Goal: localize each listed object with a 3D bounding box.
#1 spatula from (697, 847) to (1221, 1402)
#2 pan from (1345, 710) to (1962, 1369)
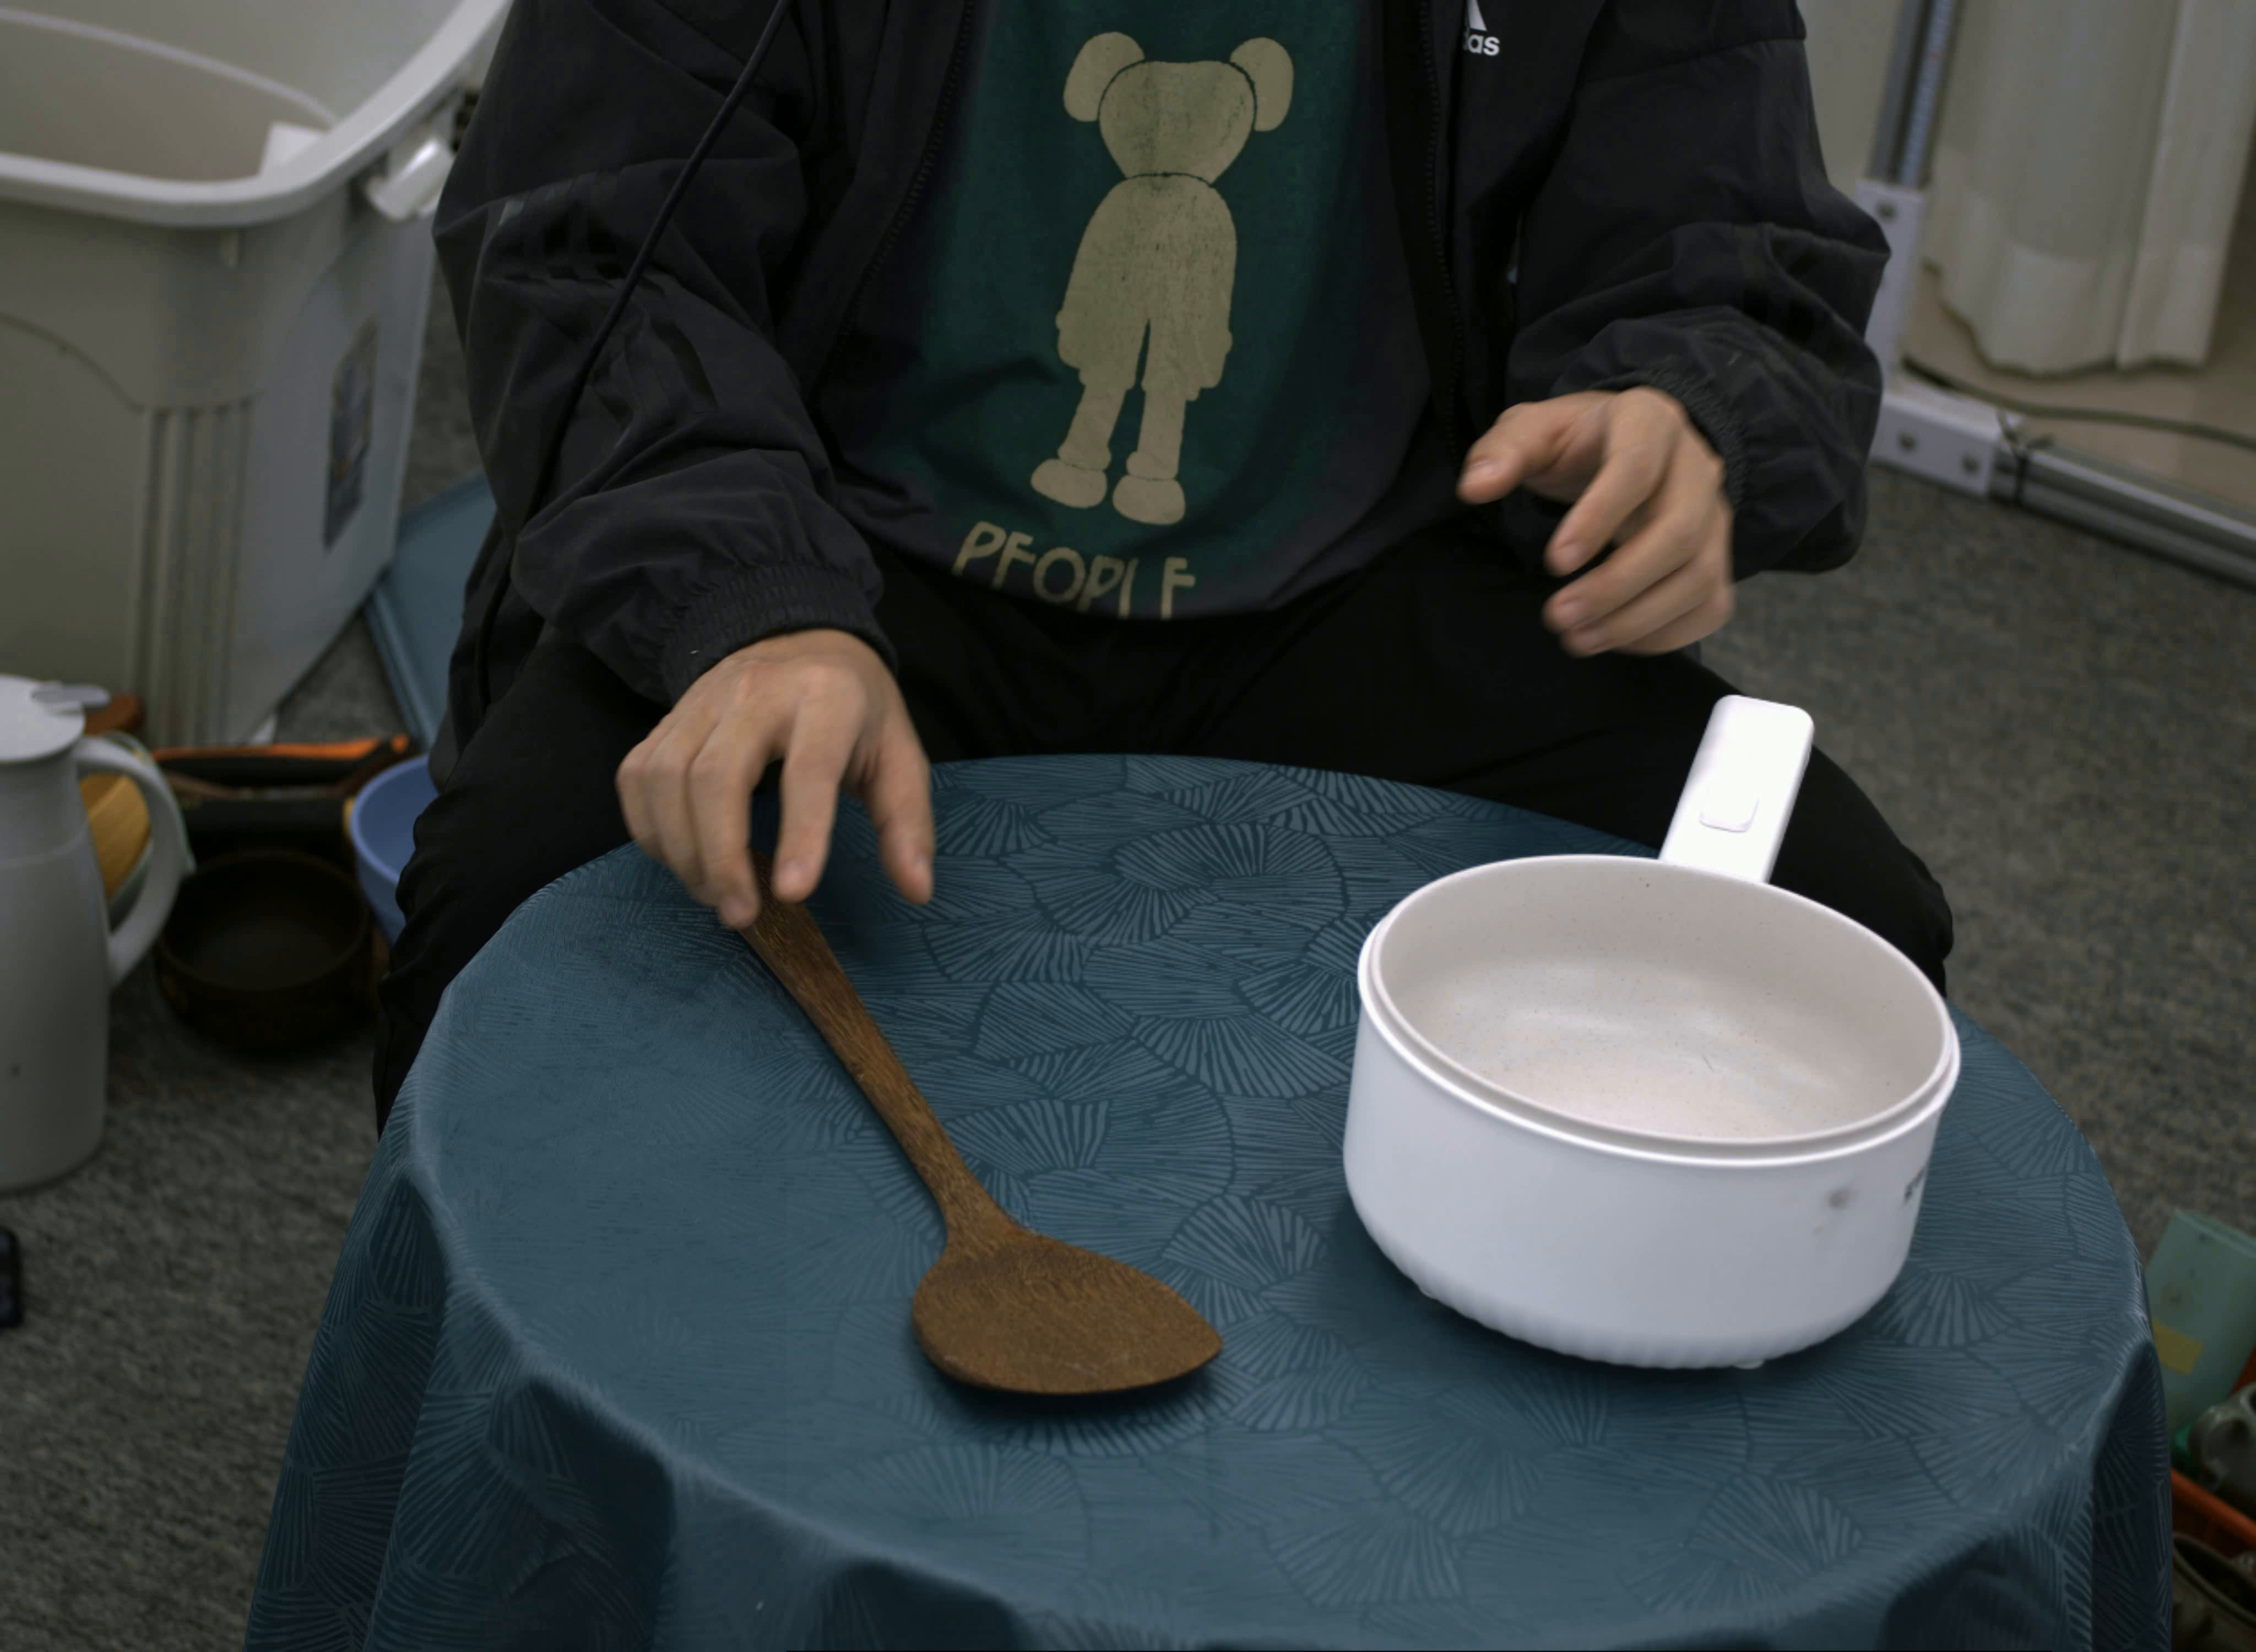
[{"bbox_3d":[-0.079,0.094,1.830,0.095,0.016,0.389,-5,29,-22],"label":"spatula"},{"bbox_3d":[0.190,0.070,1.849,0.201,0.102,0.355,11,25,11],"label":"pan"}]
